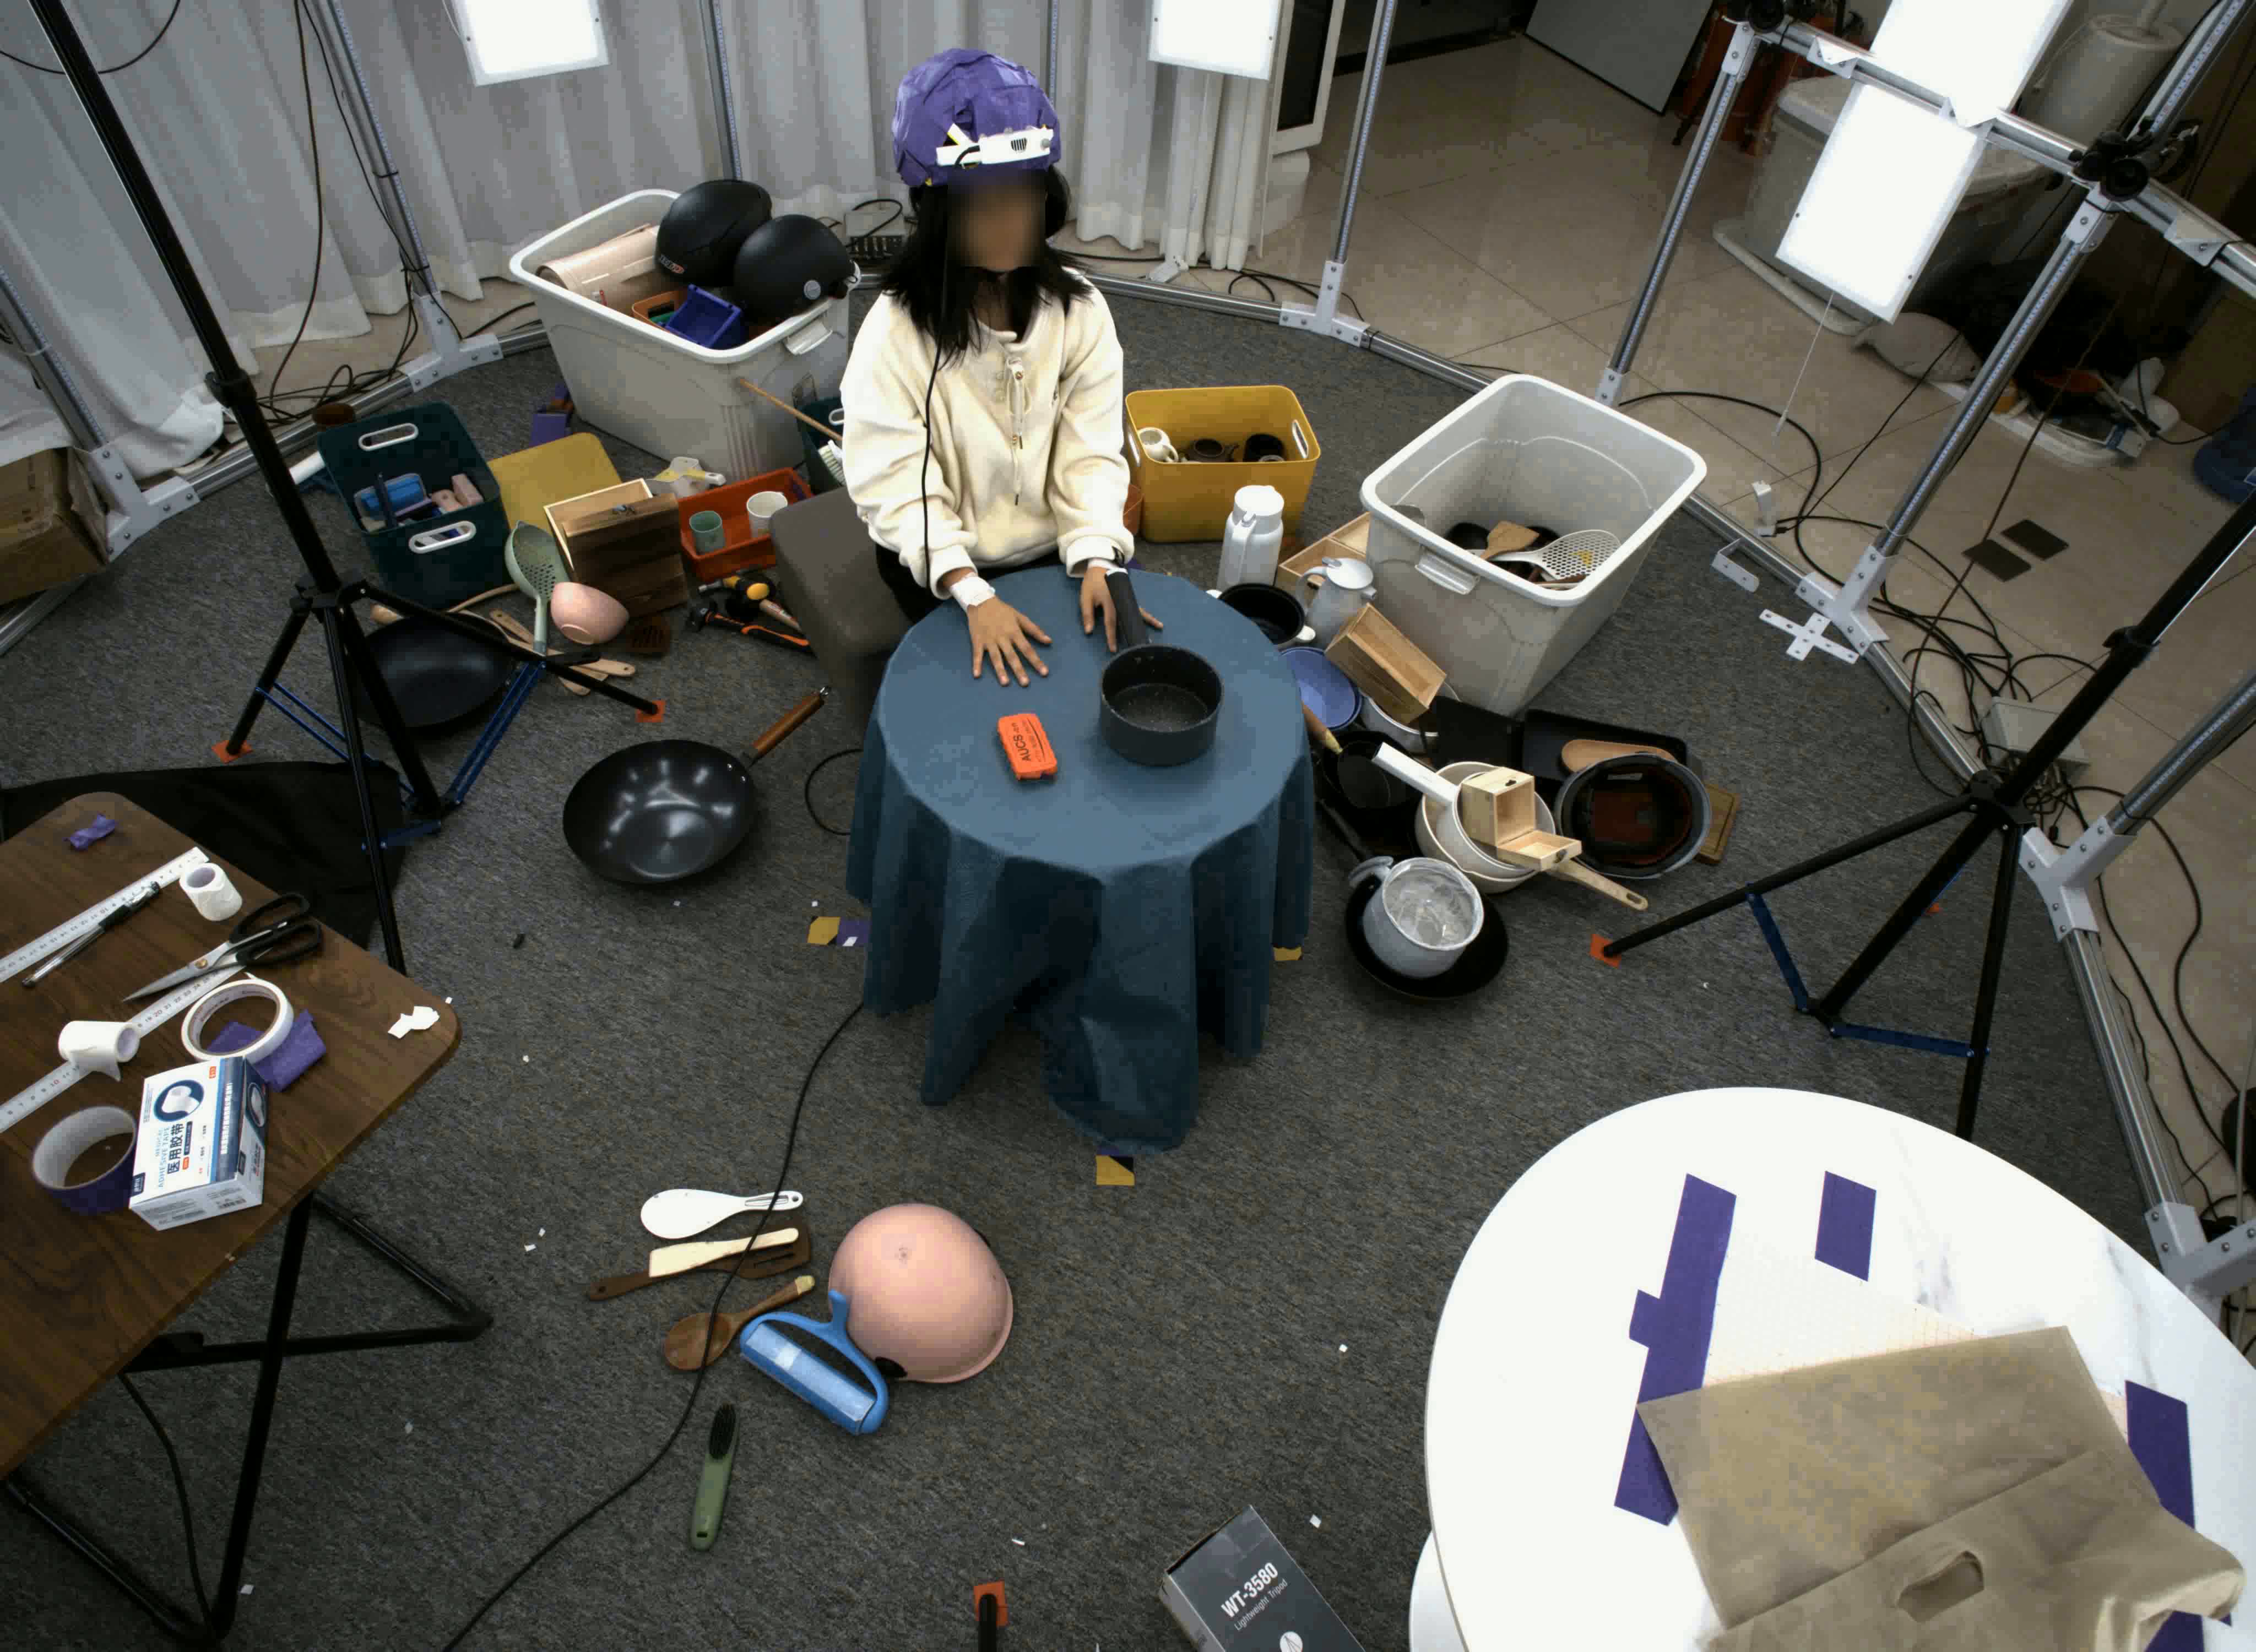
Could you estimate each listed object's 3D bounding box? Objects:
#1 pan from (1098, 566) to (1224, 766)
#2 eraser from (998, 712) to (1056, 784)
[{"bbox_3d":[0.025,-0.229,1.816,0.172,0.084,0.337,-7,51,-11],"label":"pan"},{"bbox_3d":[-0.137,-0.107,1.738,0.059,0.022,0.110,-12,51,-14],"label":"eraser"}]
